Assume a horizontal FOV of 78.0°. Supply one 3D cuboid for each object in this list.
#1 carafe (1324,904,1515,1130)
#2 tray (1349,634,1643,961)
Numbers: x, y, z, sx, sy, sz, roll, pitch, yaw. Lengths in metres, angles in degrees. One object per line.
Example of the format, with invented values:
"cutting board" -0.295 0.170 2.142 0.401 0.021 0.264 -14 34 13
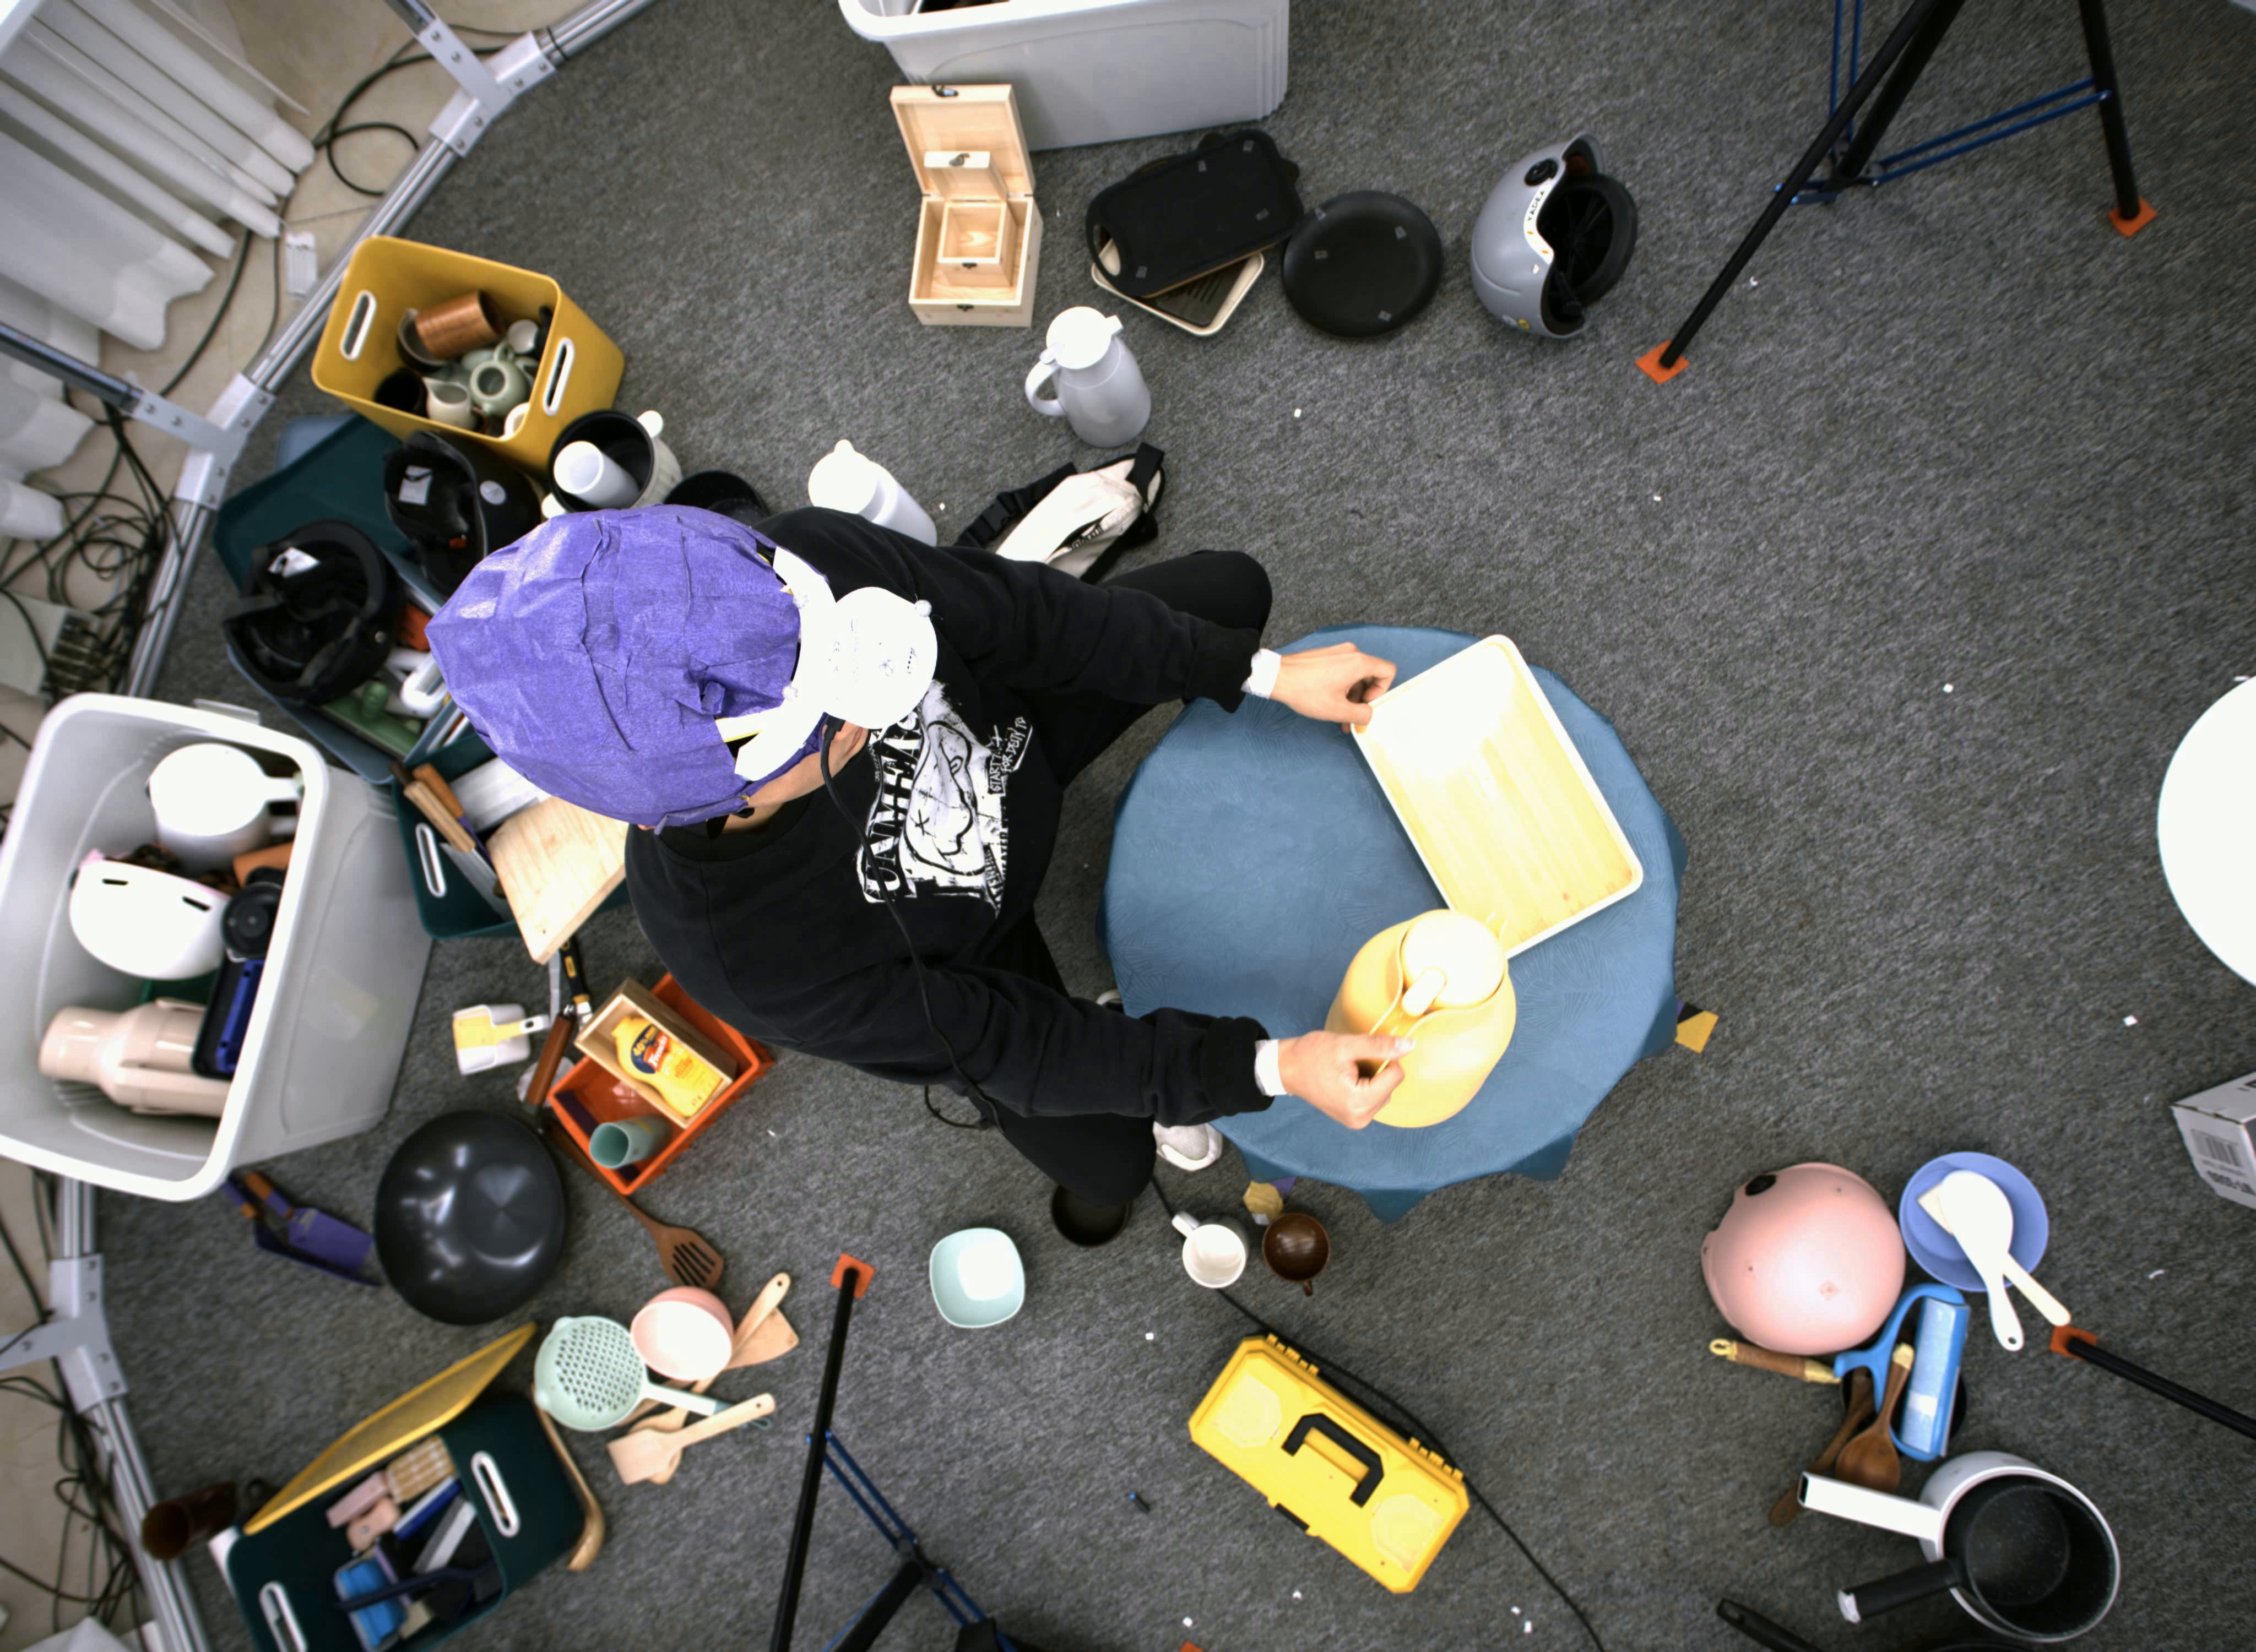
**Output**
"carafe" 0.262 0.185 1.285 0.199 0.266 0.162 -41 68 -20
"tray" 0.377 -0.029 1.419 0.192 0.027 0.299 -29 87 7
